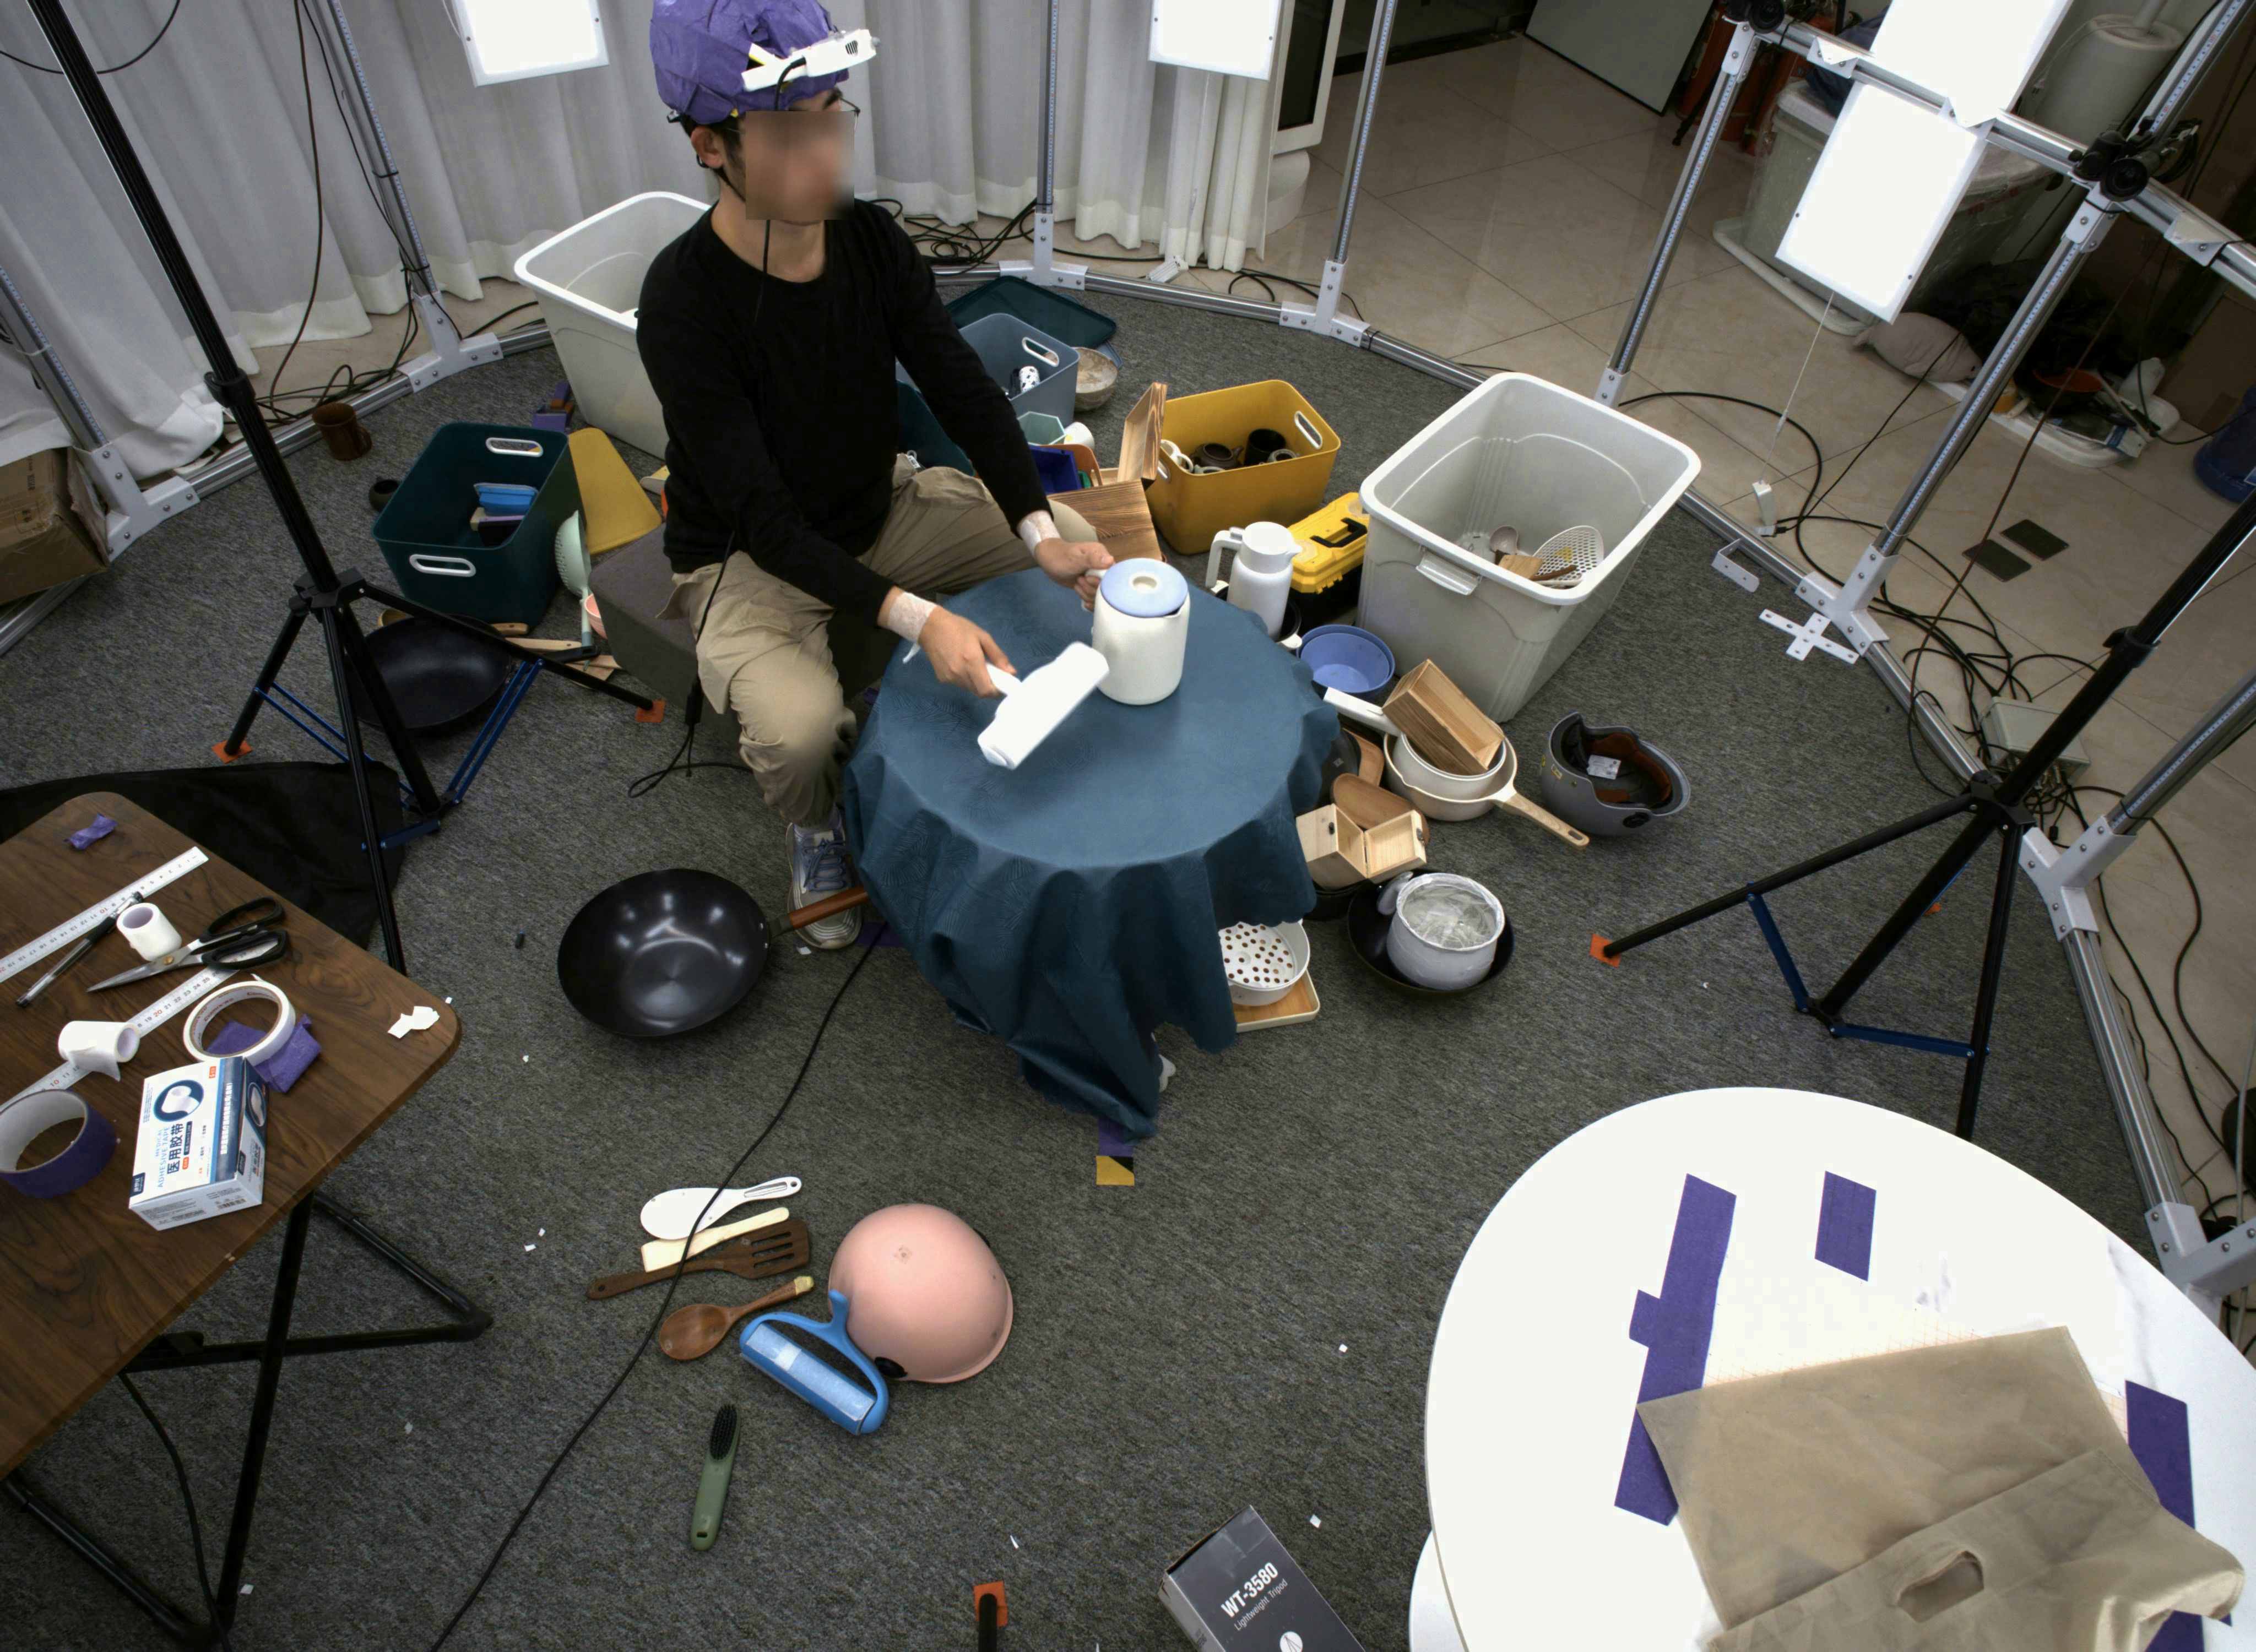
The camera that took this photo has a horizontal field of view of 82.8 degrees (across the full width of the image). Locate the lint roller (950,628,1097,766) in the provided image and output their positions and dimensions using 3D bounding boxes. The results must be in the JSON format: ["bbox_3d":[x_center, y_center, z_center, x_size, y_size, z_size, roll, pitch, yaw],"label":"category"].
[{"bbox_3d":[-0.173,-0.197,1.732,0.229,0.047,0.204,26,74,40],"label":"lint roller"}]

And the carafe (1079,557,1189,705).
[{"bbox_3d":[0.000,-0.286,1.807,0.133,0.178,0.194,-33,57,-29],"label":"carafe"}]
